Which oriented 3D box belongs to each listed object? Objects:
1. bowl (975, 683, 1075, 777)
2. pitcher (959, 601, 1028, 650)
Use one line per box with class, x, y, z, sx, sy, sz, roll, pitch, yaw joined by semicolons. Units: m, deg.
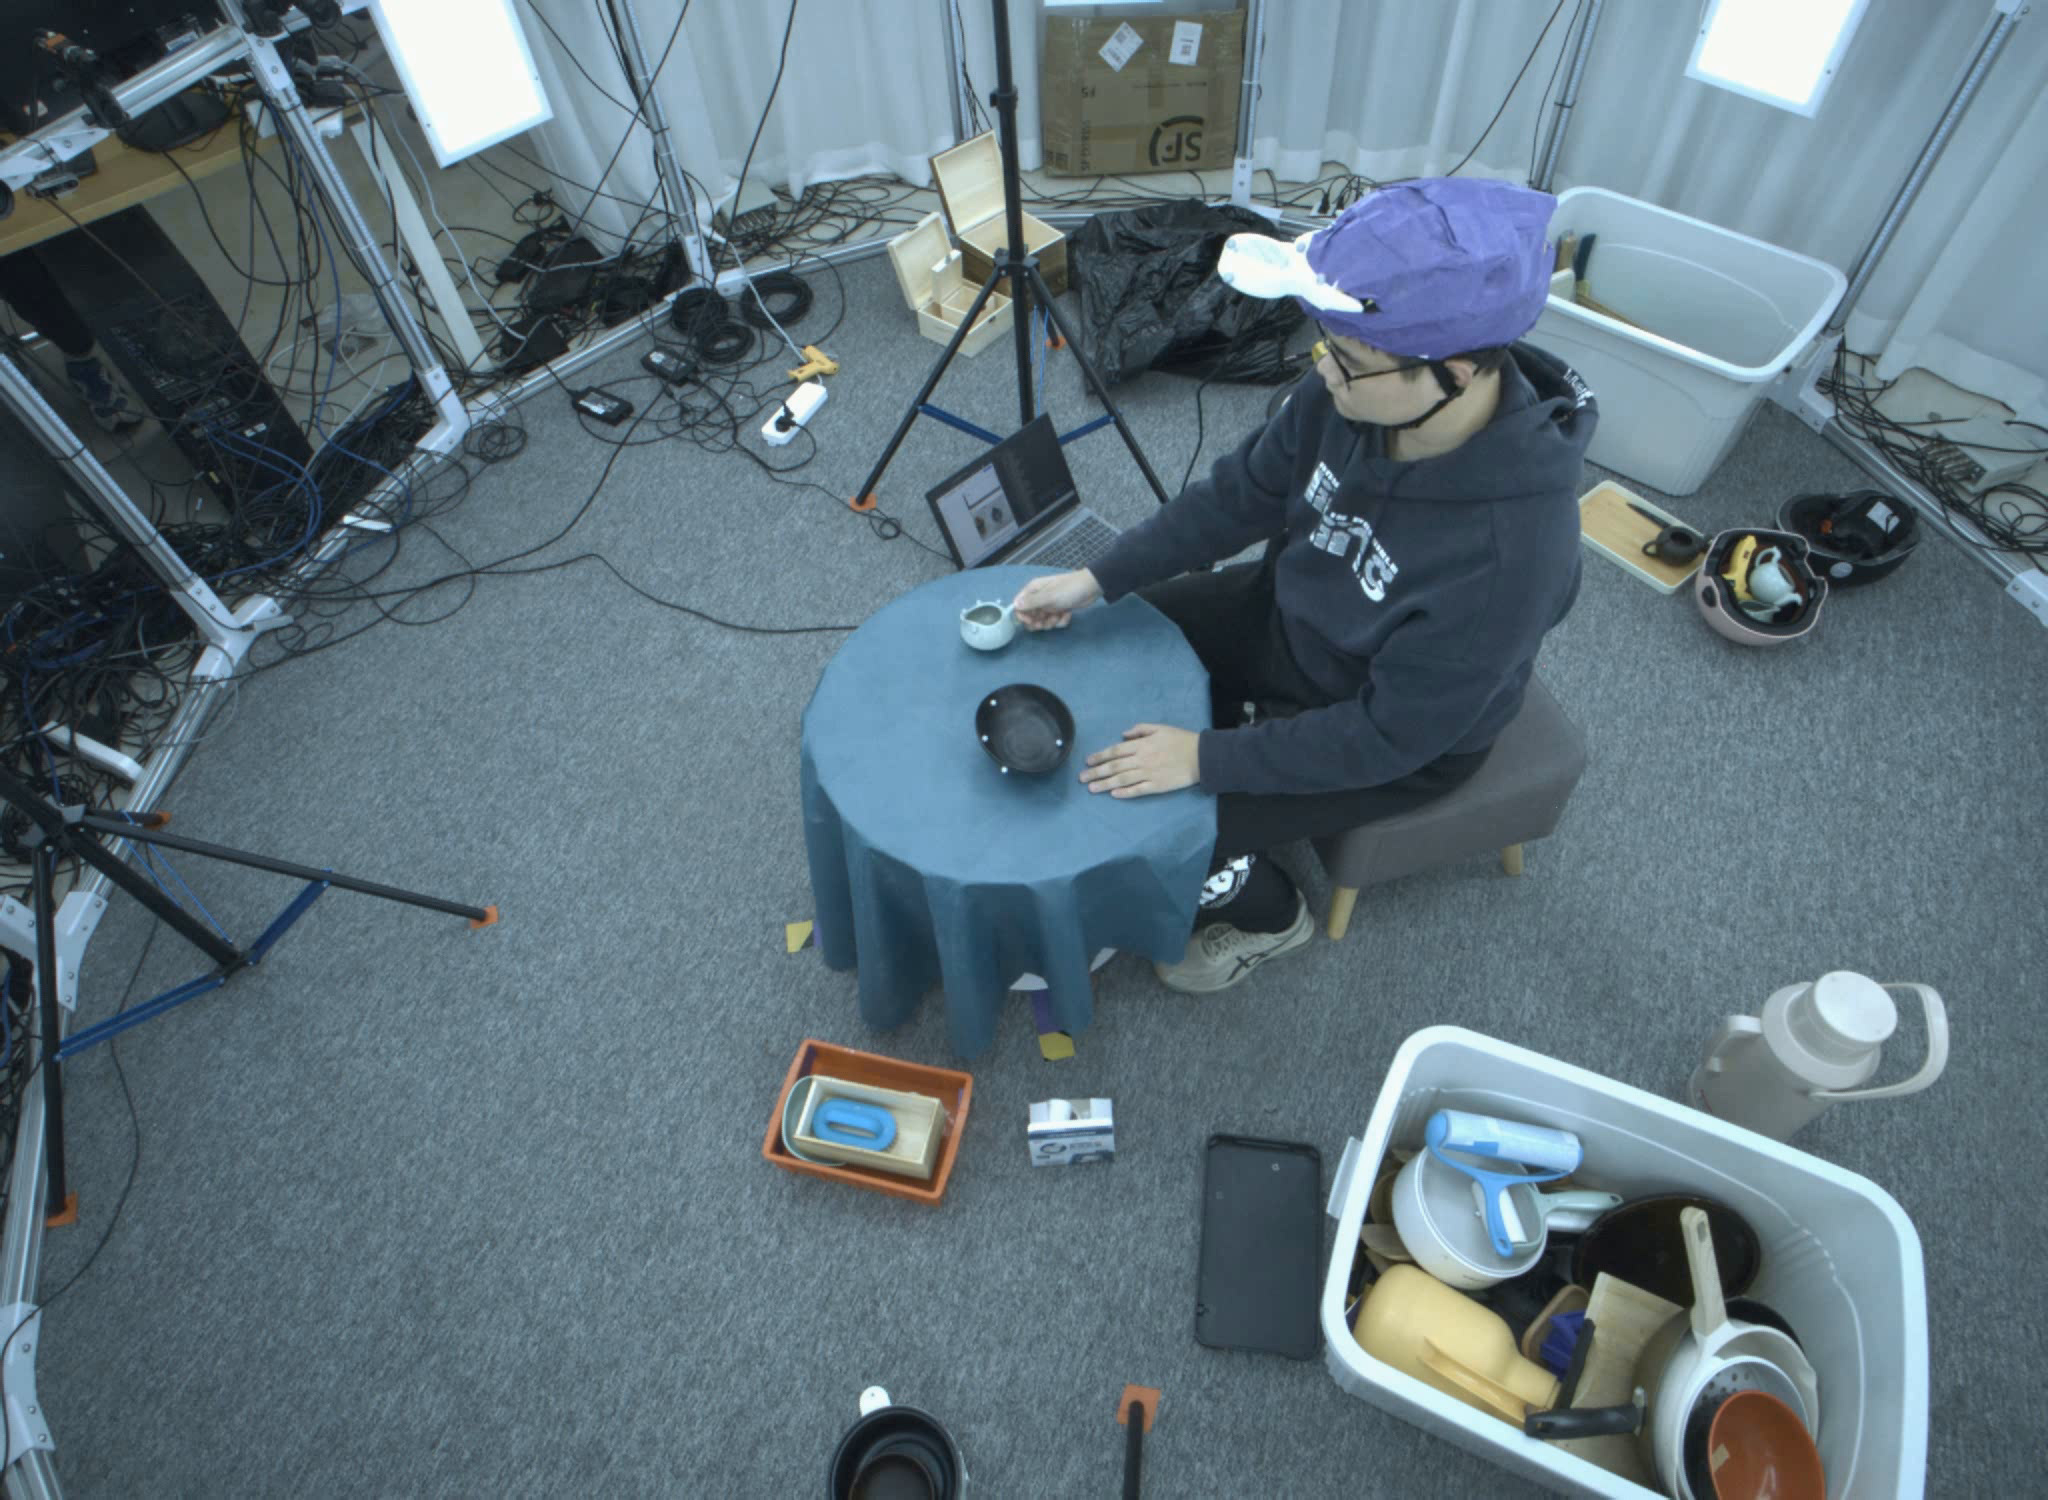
bowl;0.000;-0.020;1.764;0.138;0.067;0.167;-21;56;-13
pitcher;-0.047;-0.197;1.894;0.108;0.061;0.084;-12;56;-9
